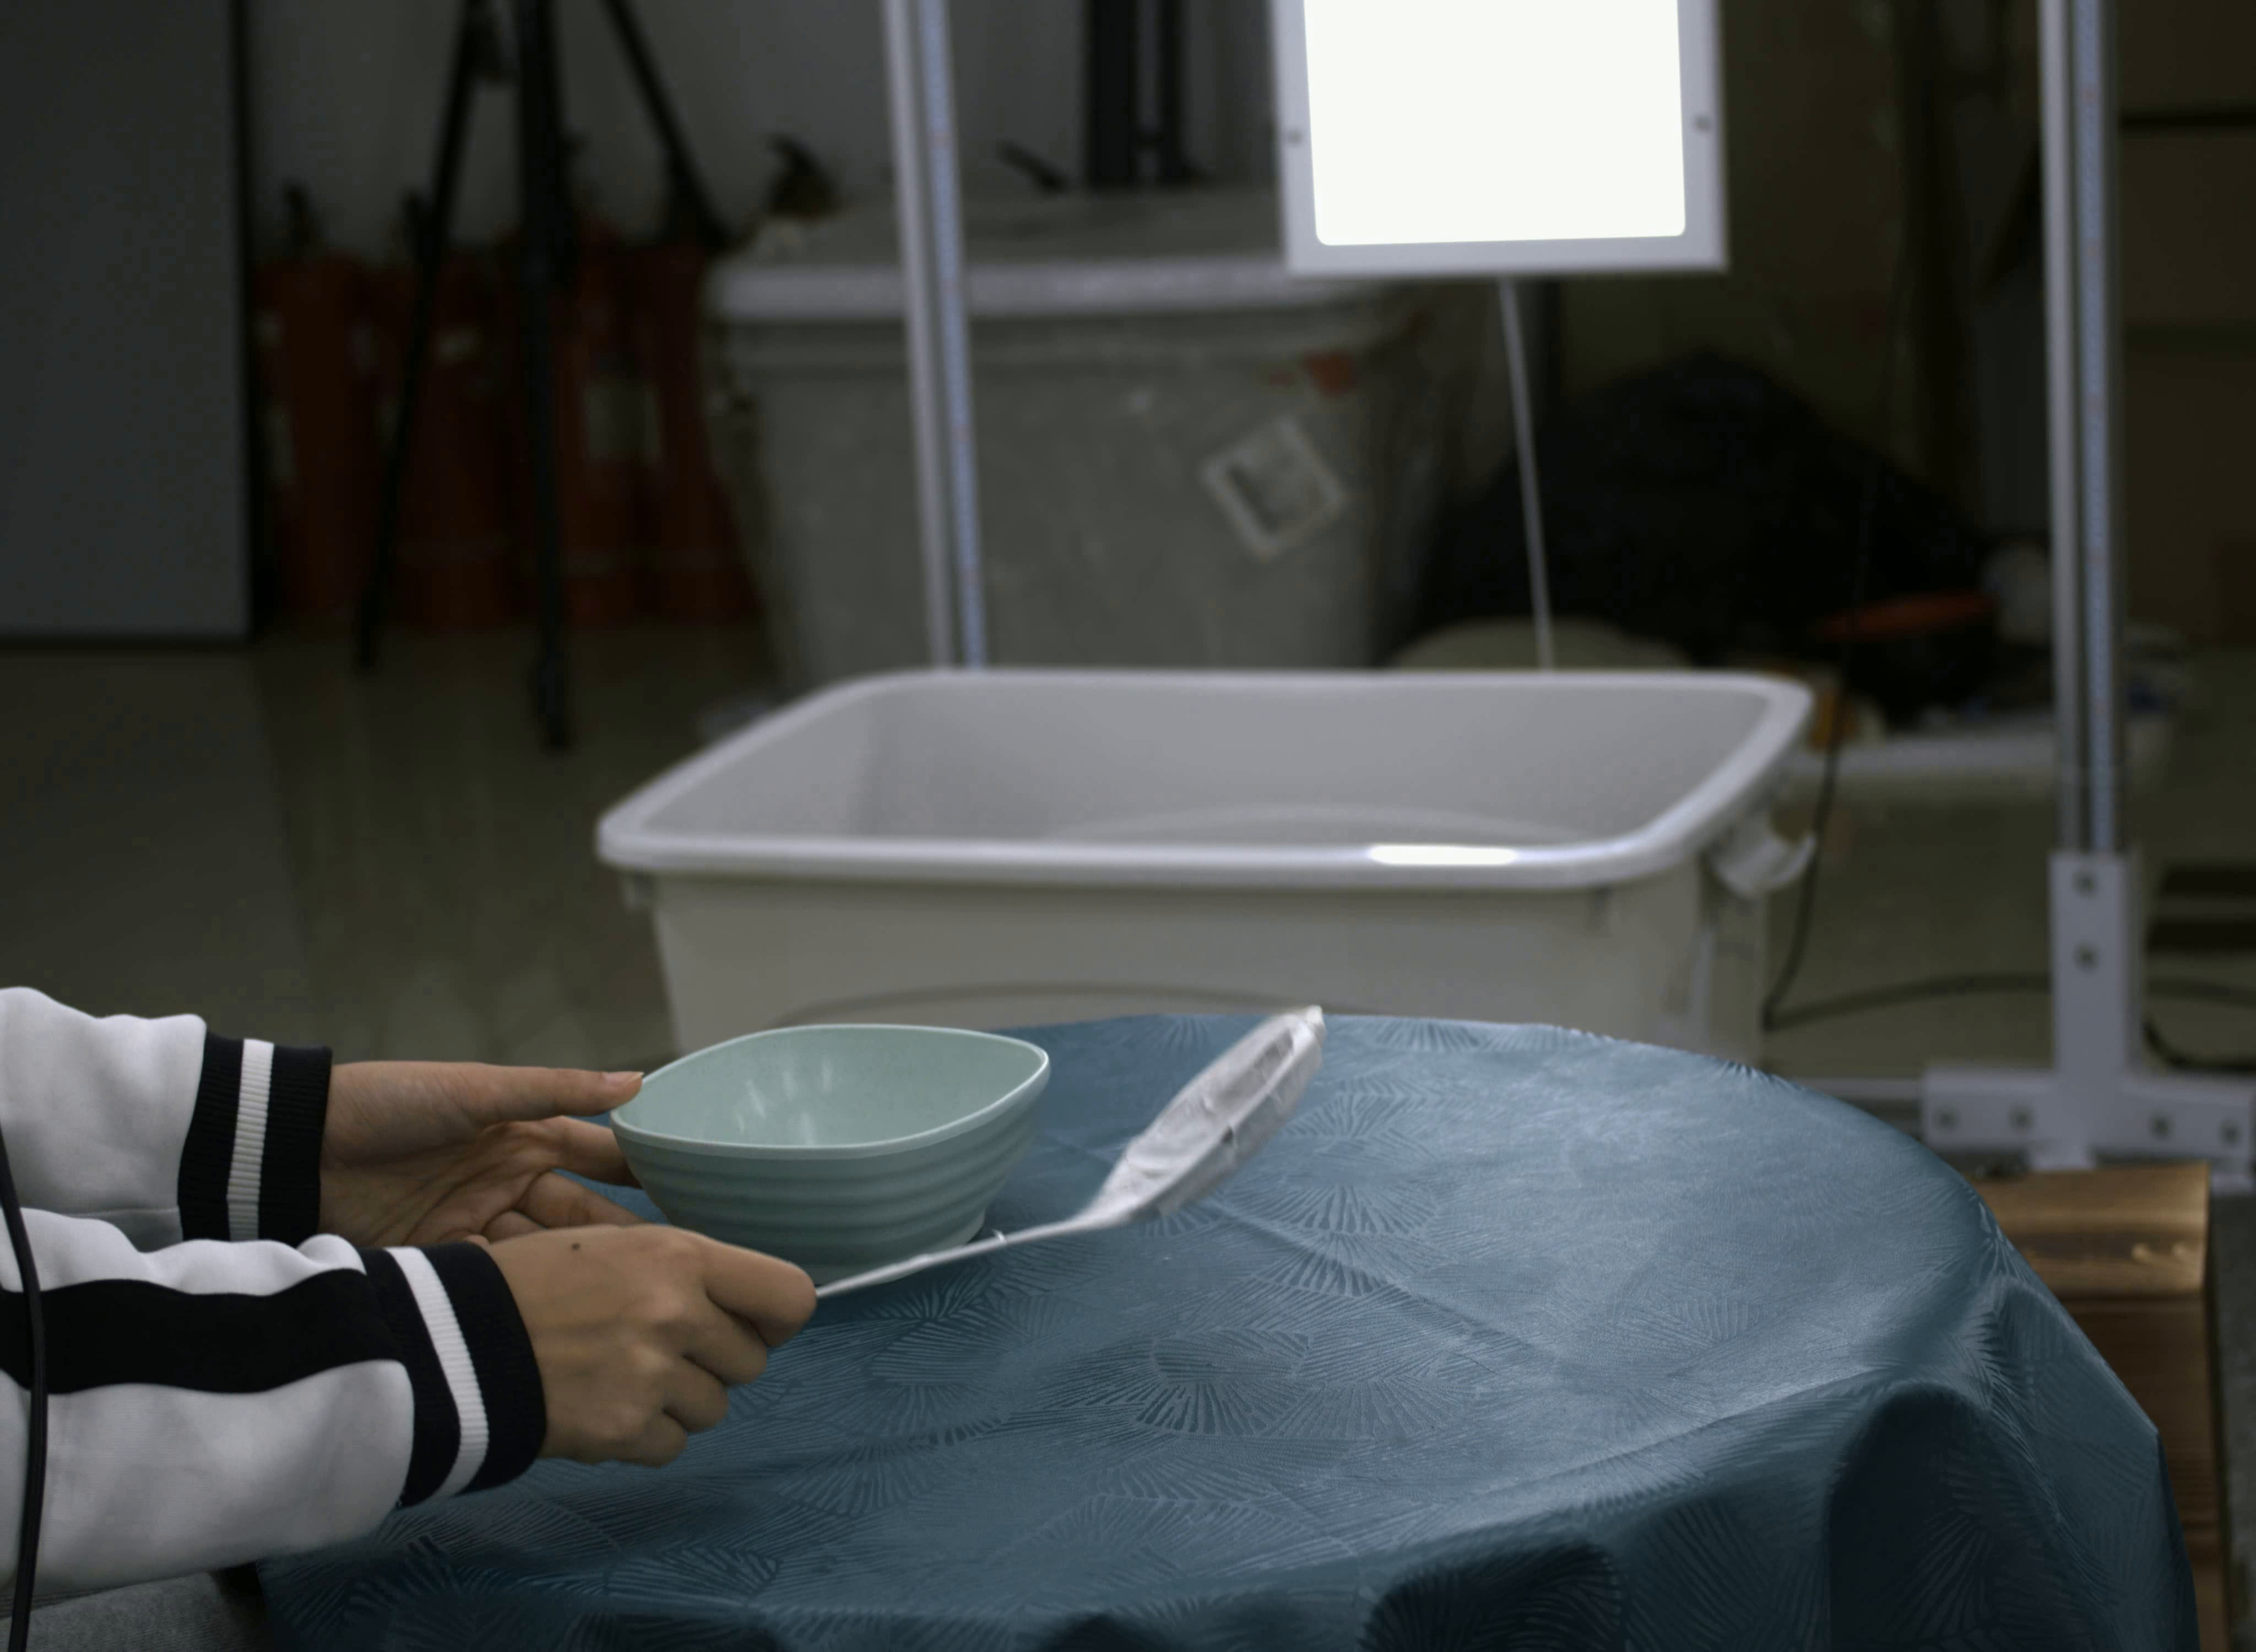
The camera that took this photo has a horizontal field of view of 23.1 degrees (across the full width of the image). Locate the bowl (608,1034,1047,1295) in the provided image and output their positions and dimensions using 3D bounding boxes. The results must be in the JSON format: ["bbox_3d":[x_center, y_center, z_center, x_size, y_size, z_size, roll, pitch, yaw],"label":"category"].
[{"bbox_3d":[-0.099,0.117,1.863,0.151,0.059,0.151,-5,14,0],"label":"bowl"}]

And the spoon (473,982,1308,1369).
[{"bbox_3d":[-0.071,0.106,1.680,0.274,0.059,0.102,-13,-5,-13],"label":"spoon"}]
